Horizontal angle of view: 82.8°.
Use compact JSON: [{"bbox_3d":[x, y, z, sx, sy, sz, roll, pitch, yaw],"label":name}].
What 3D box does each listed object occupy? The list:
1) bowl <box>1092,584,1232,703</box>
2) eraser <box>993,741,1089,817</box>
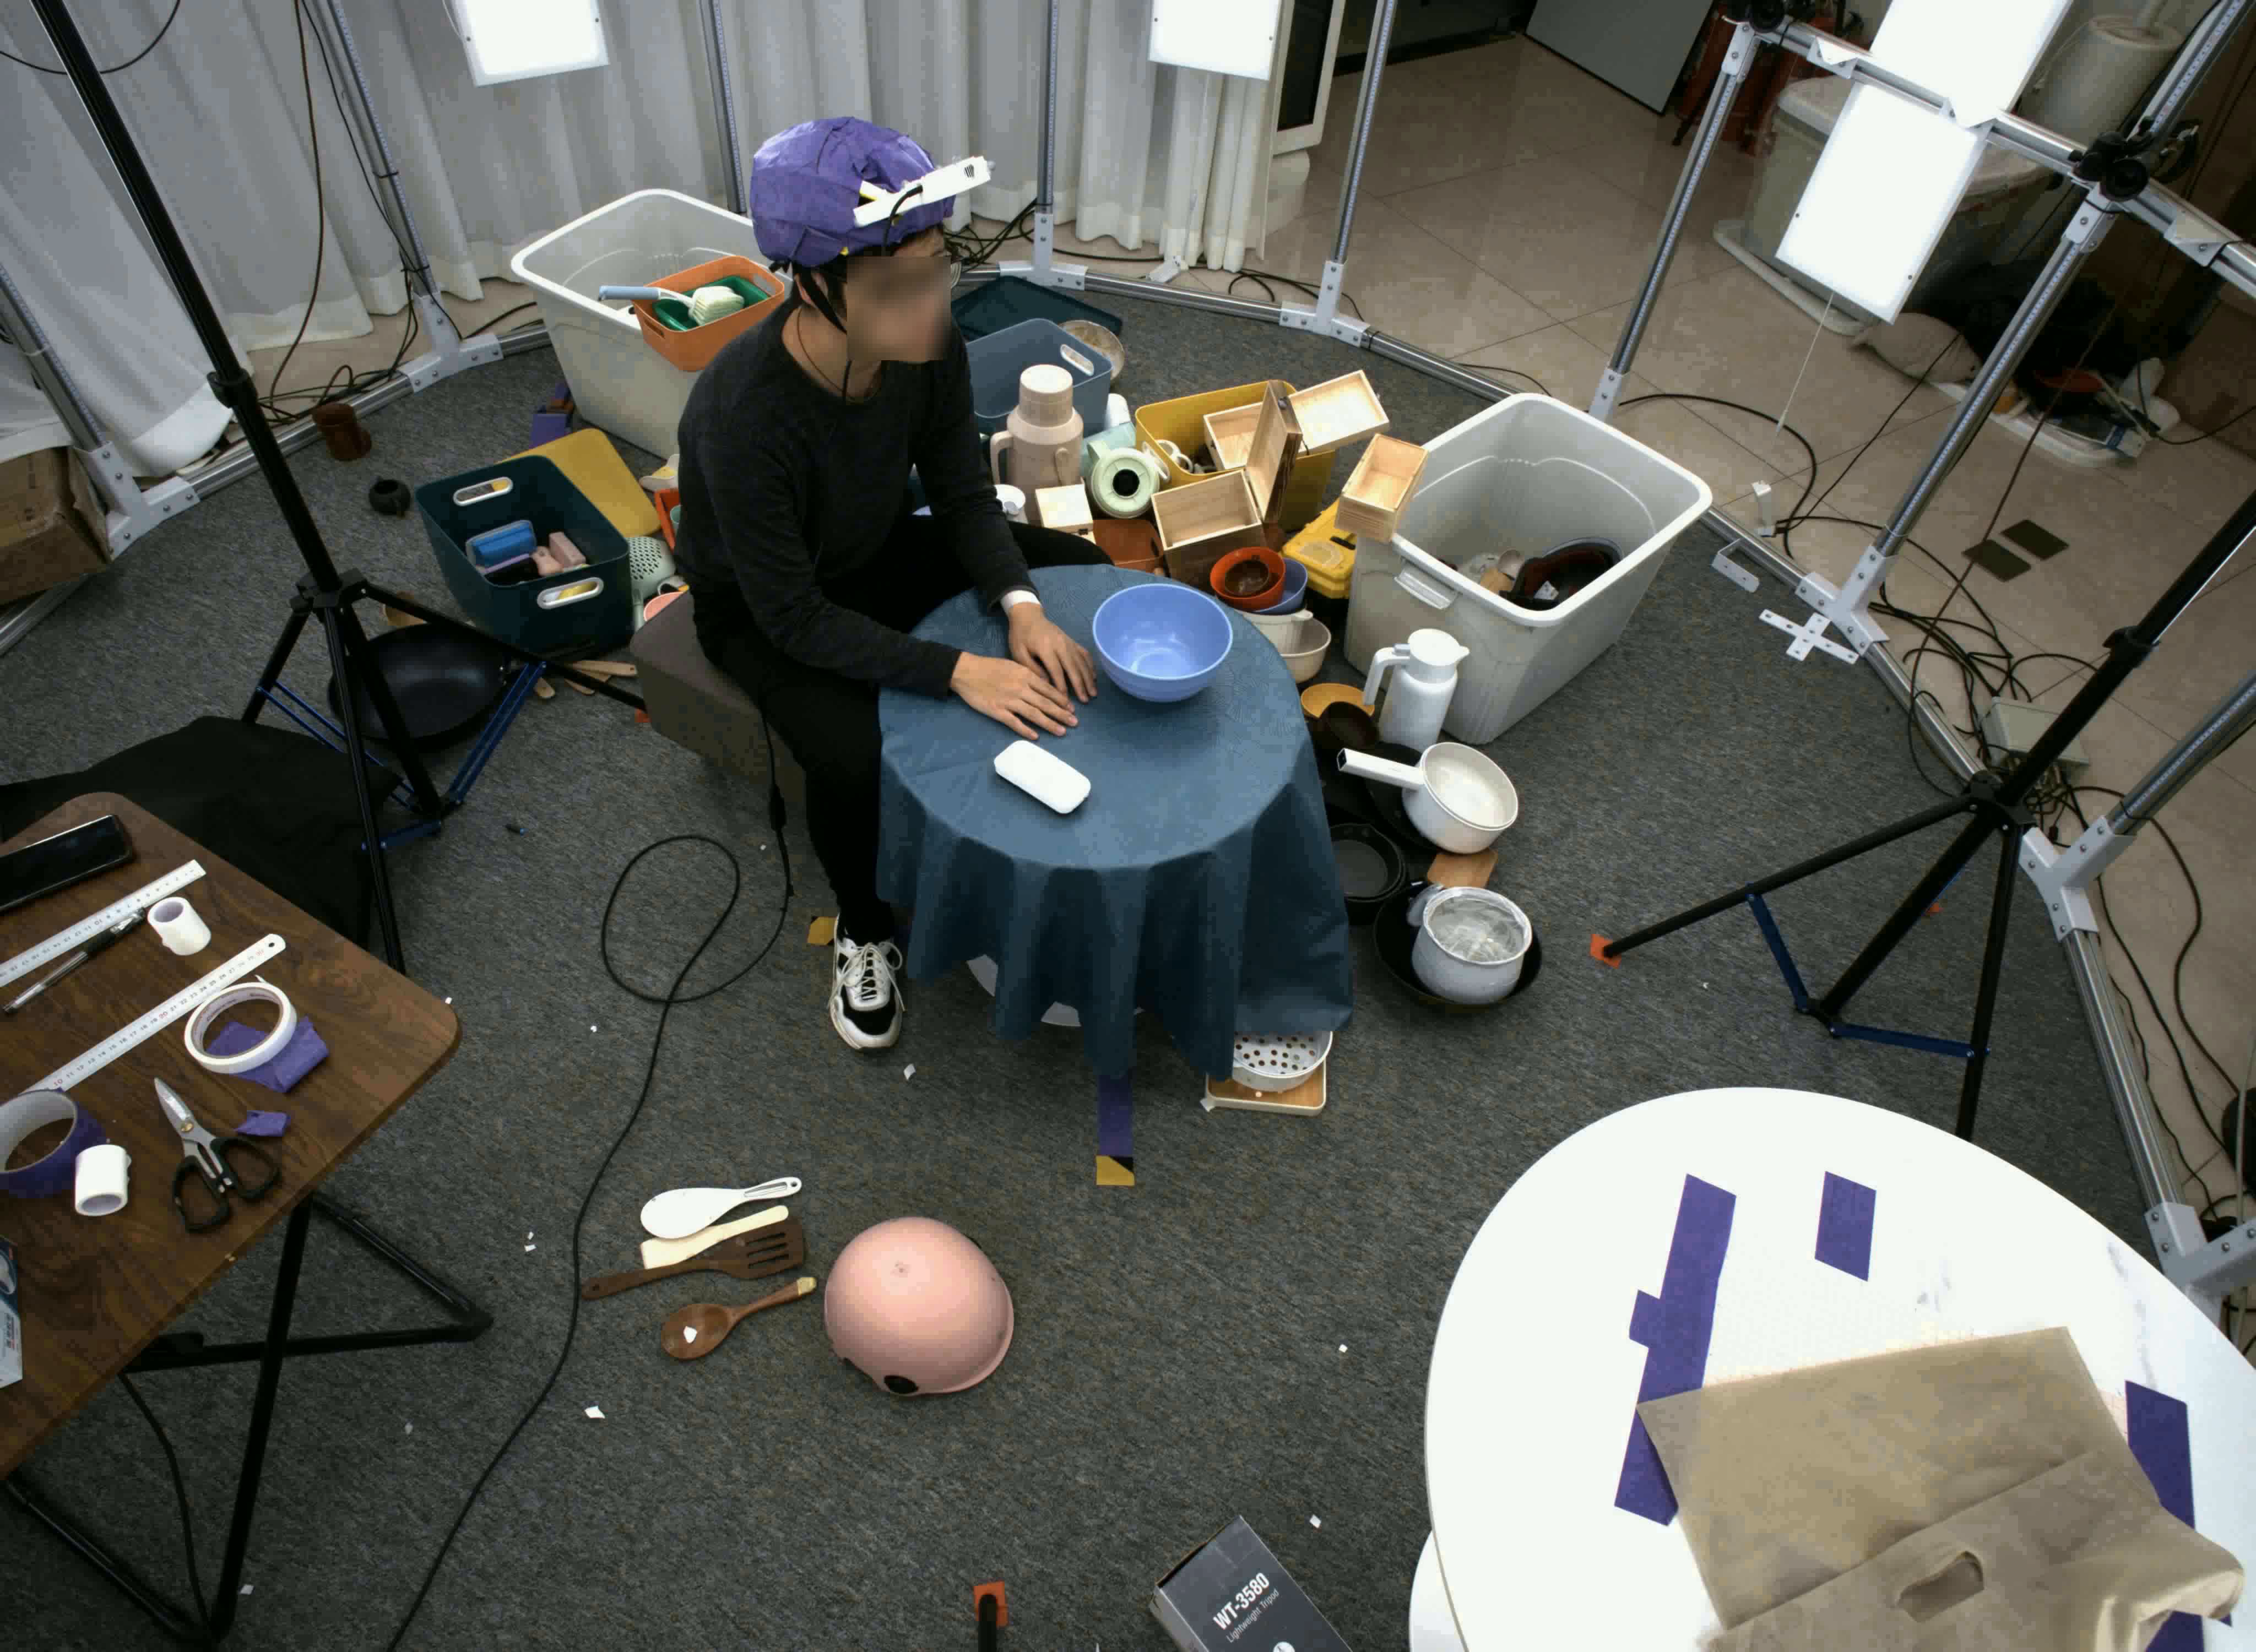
[{"bbox_3d":[0.045,-0.244,1.824,0.196,0.093,0.201,2,50,-3],"label":"bowl"},{"bbox_3d":[-0.115,-0.065,1.699,0.133,0.034,0.064,33,54,22],"label":"eraser"}]
